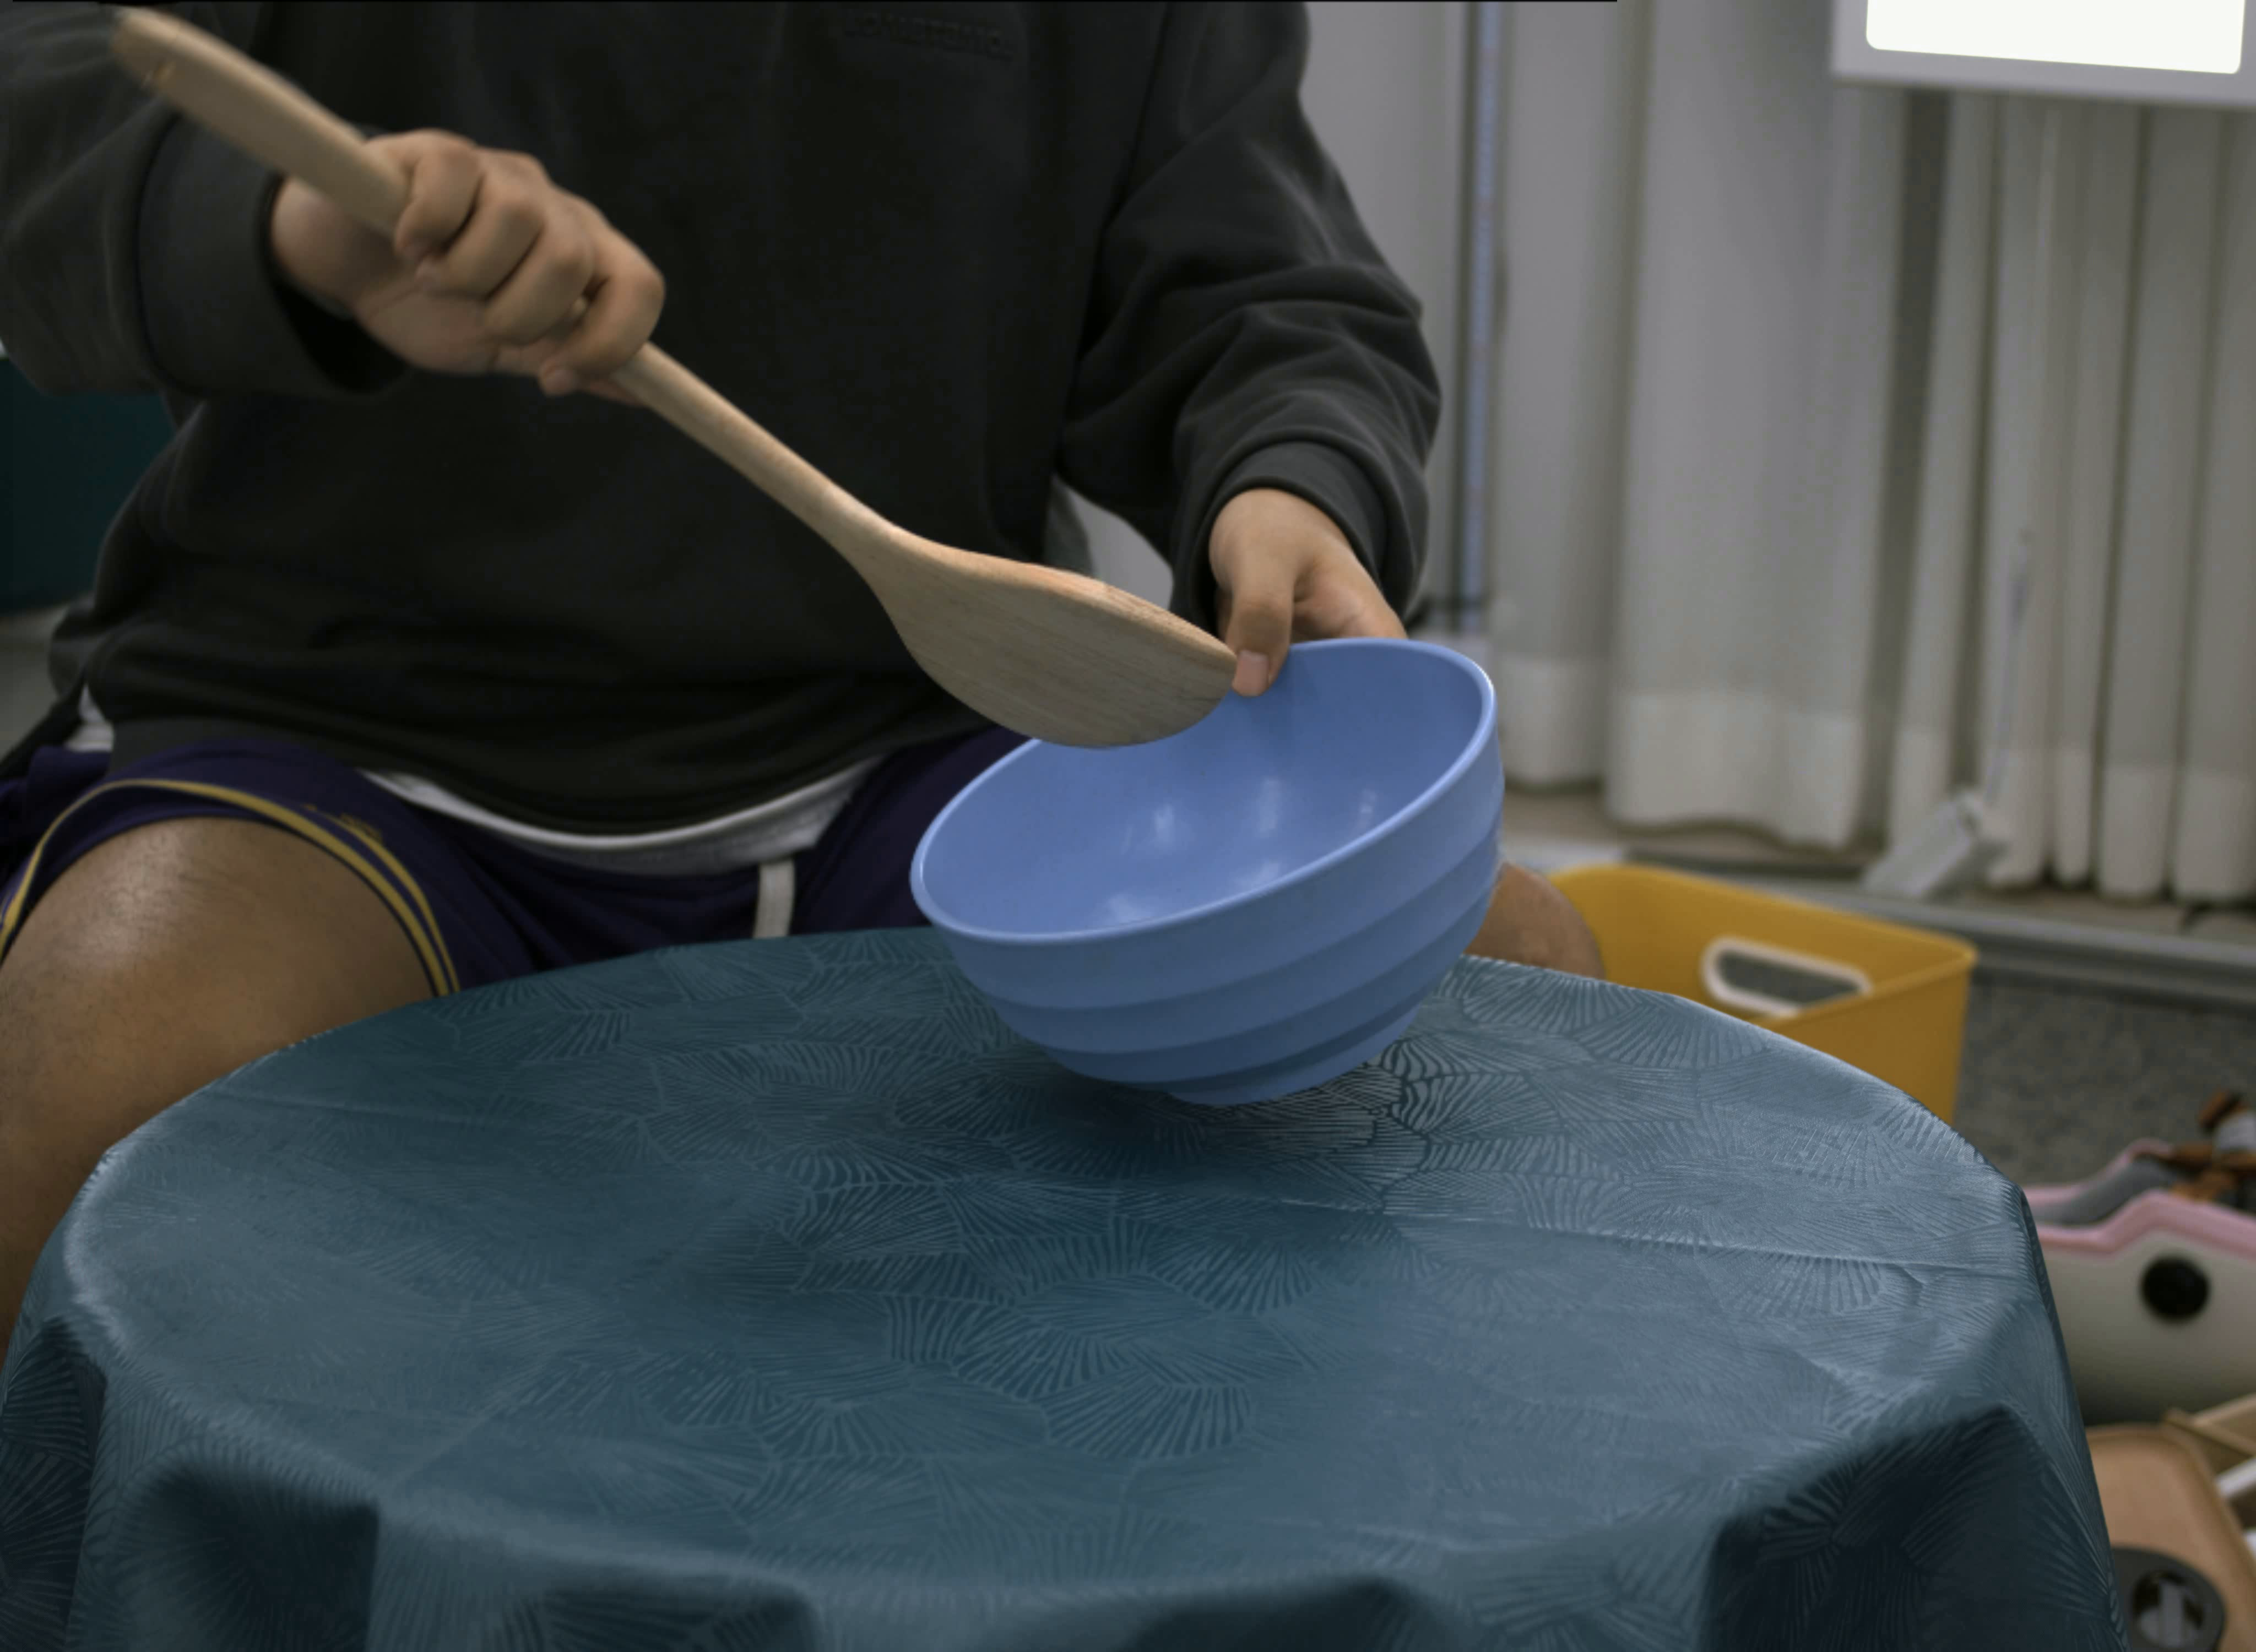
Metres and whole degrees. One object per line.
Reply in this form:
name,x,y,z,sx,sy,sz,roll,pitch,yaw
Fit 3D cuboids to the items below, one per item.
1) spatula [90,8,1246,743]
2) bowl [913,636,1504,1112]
spatula,-0.133,-0.130,1.551,0.394,0.018,0.095,34,-35,-21
bowl,0.038,0.028,1.693,0.195,0.096,0.195,-17,24,9
